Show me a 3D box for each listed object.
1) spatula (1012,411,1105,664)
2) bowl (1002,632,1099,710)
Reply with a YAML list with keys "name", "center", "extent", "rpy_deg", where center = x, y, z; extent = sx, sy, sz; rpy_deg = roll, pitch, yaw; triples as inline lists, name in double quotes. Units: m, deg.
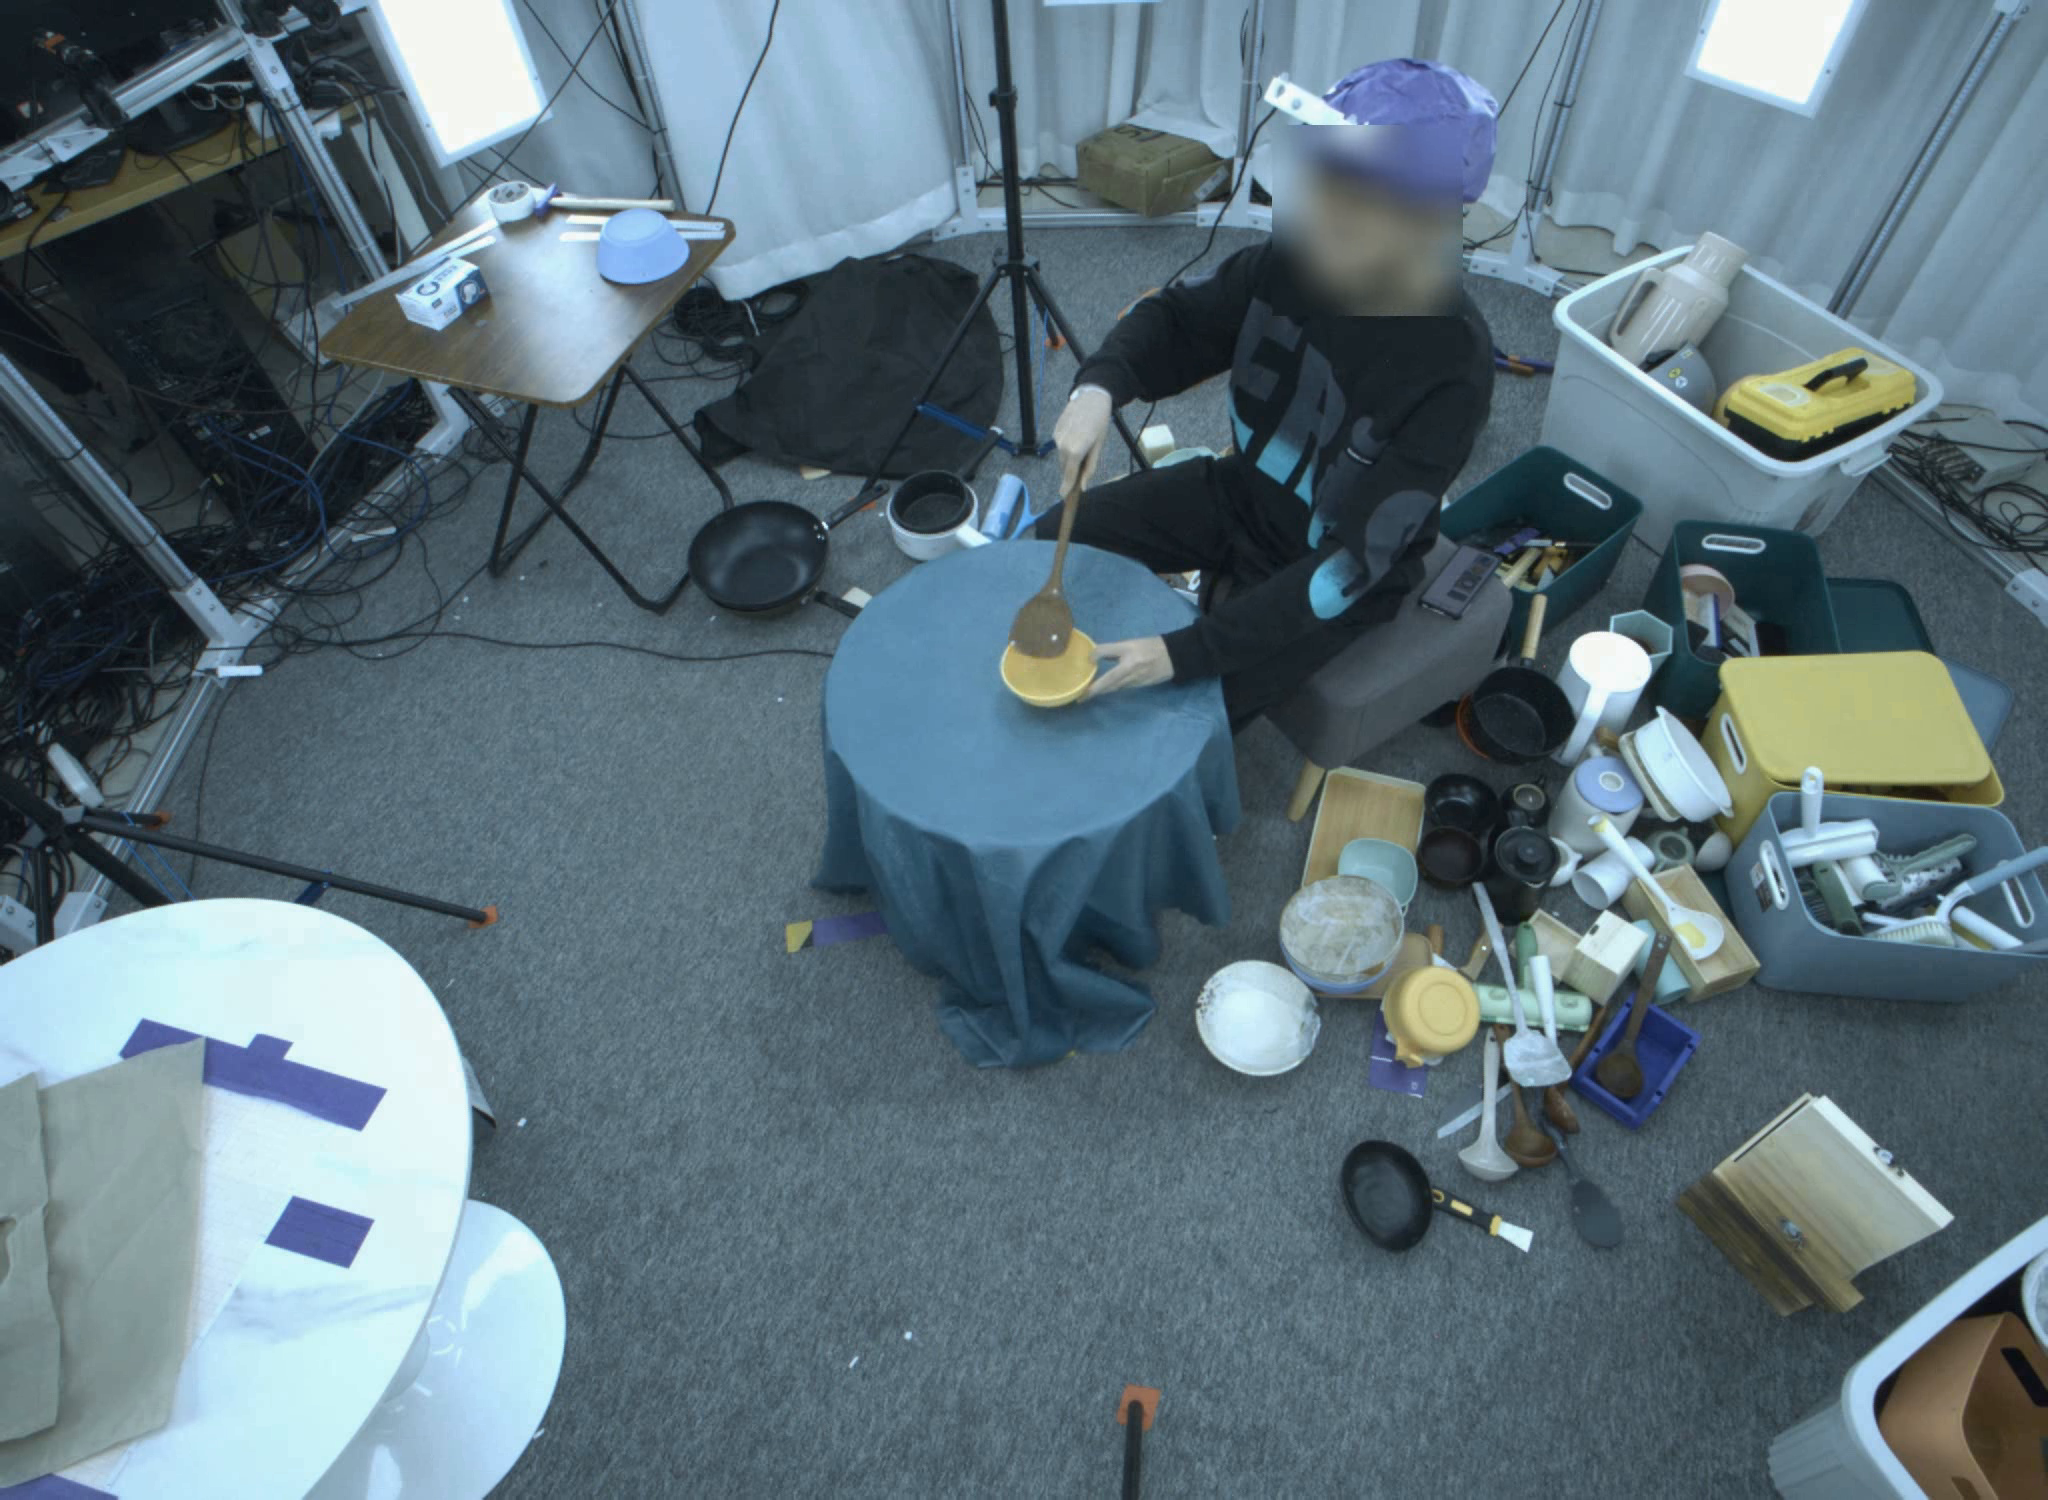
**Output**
- name: "spatula"
  center: [0.064, -0.316, 1.797]
  extent: [0.095, 0.016, 0.386]
  rpy_deg: [14, 93, 18]
- name: "bowl"
  center: [0.042, -0.110, 1.836]
  extent: [0.145, 0.061, 0.144]
  rpy_deg: [-2, 55, 4]
